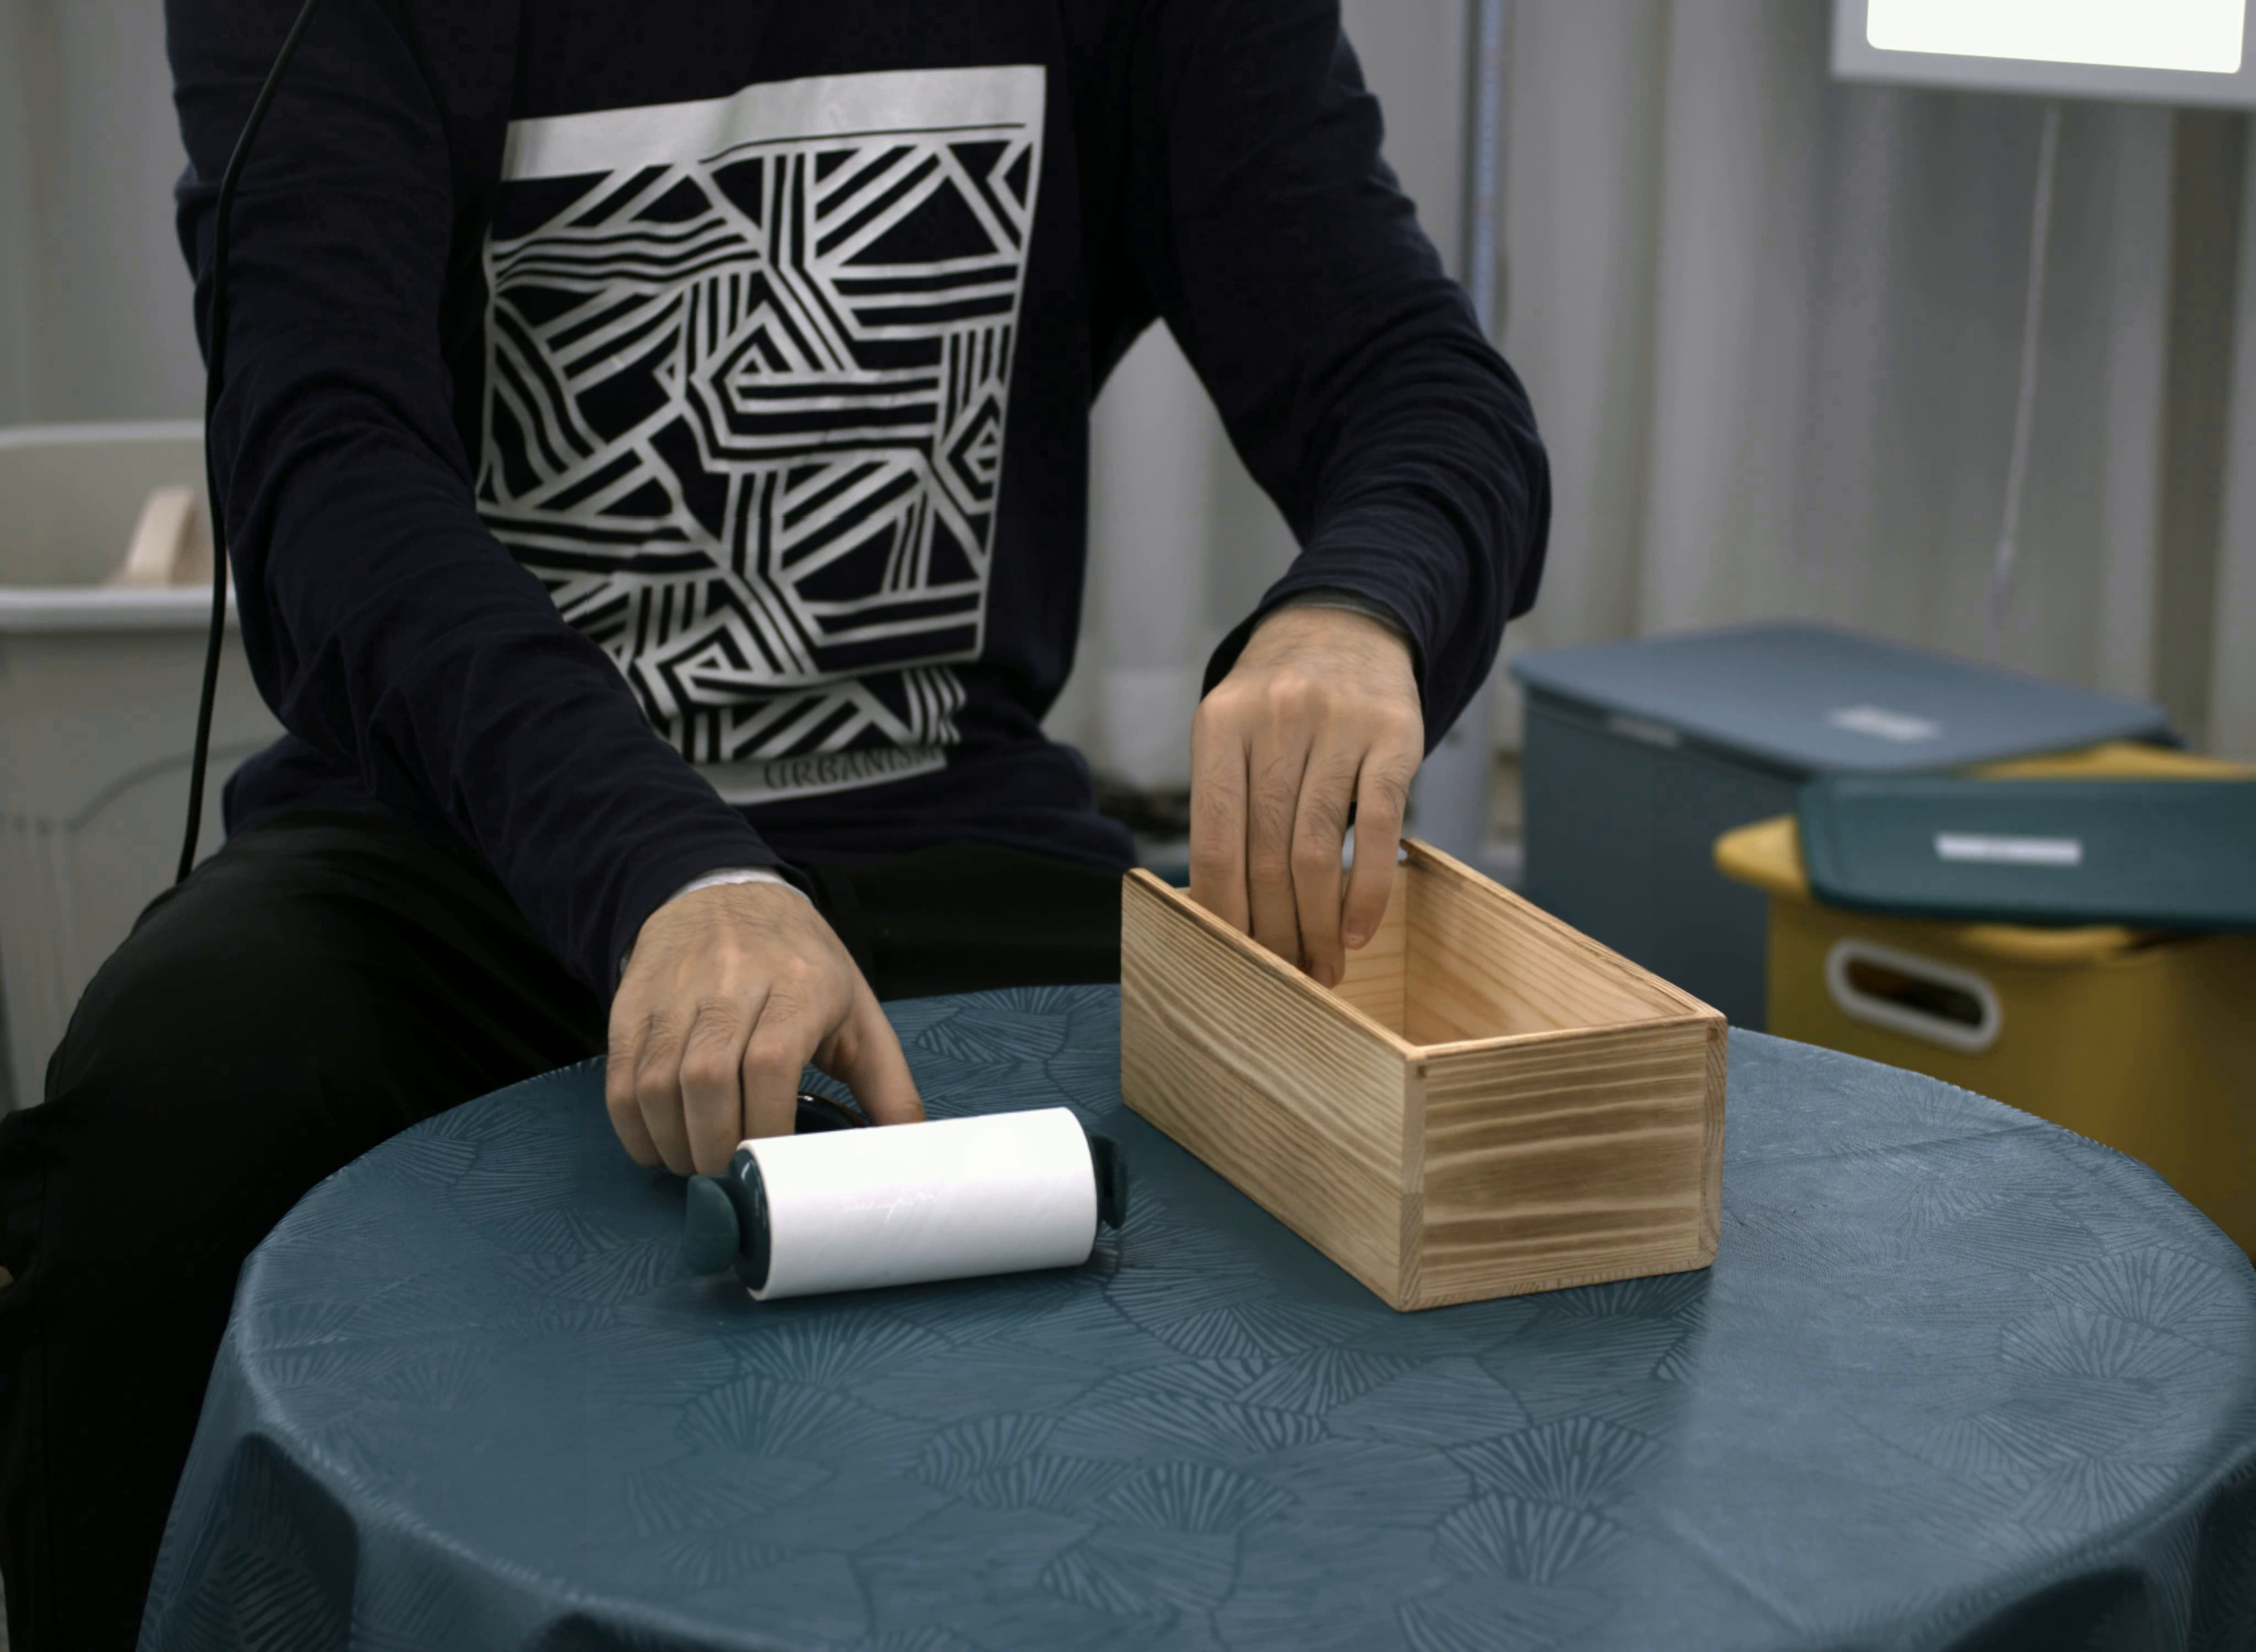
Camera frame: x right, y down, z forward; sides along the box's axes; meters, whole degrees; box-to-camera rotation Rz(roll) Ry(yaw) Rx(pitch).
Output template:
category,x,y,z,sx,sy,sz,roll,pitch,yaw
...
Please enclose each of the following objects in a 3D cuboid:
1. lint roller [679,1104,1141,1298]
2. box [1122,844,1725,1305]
category,x,y,z,sx,sy,sz,roll,pitch,yaw
lint roller,-0.086,0.098,1.602,0.134,0.048,0.178,-5,12,-19
box,0.087,0.073,1.623,0.108,0.081,0.209,-7,16,-22
